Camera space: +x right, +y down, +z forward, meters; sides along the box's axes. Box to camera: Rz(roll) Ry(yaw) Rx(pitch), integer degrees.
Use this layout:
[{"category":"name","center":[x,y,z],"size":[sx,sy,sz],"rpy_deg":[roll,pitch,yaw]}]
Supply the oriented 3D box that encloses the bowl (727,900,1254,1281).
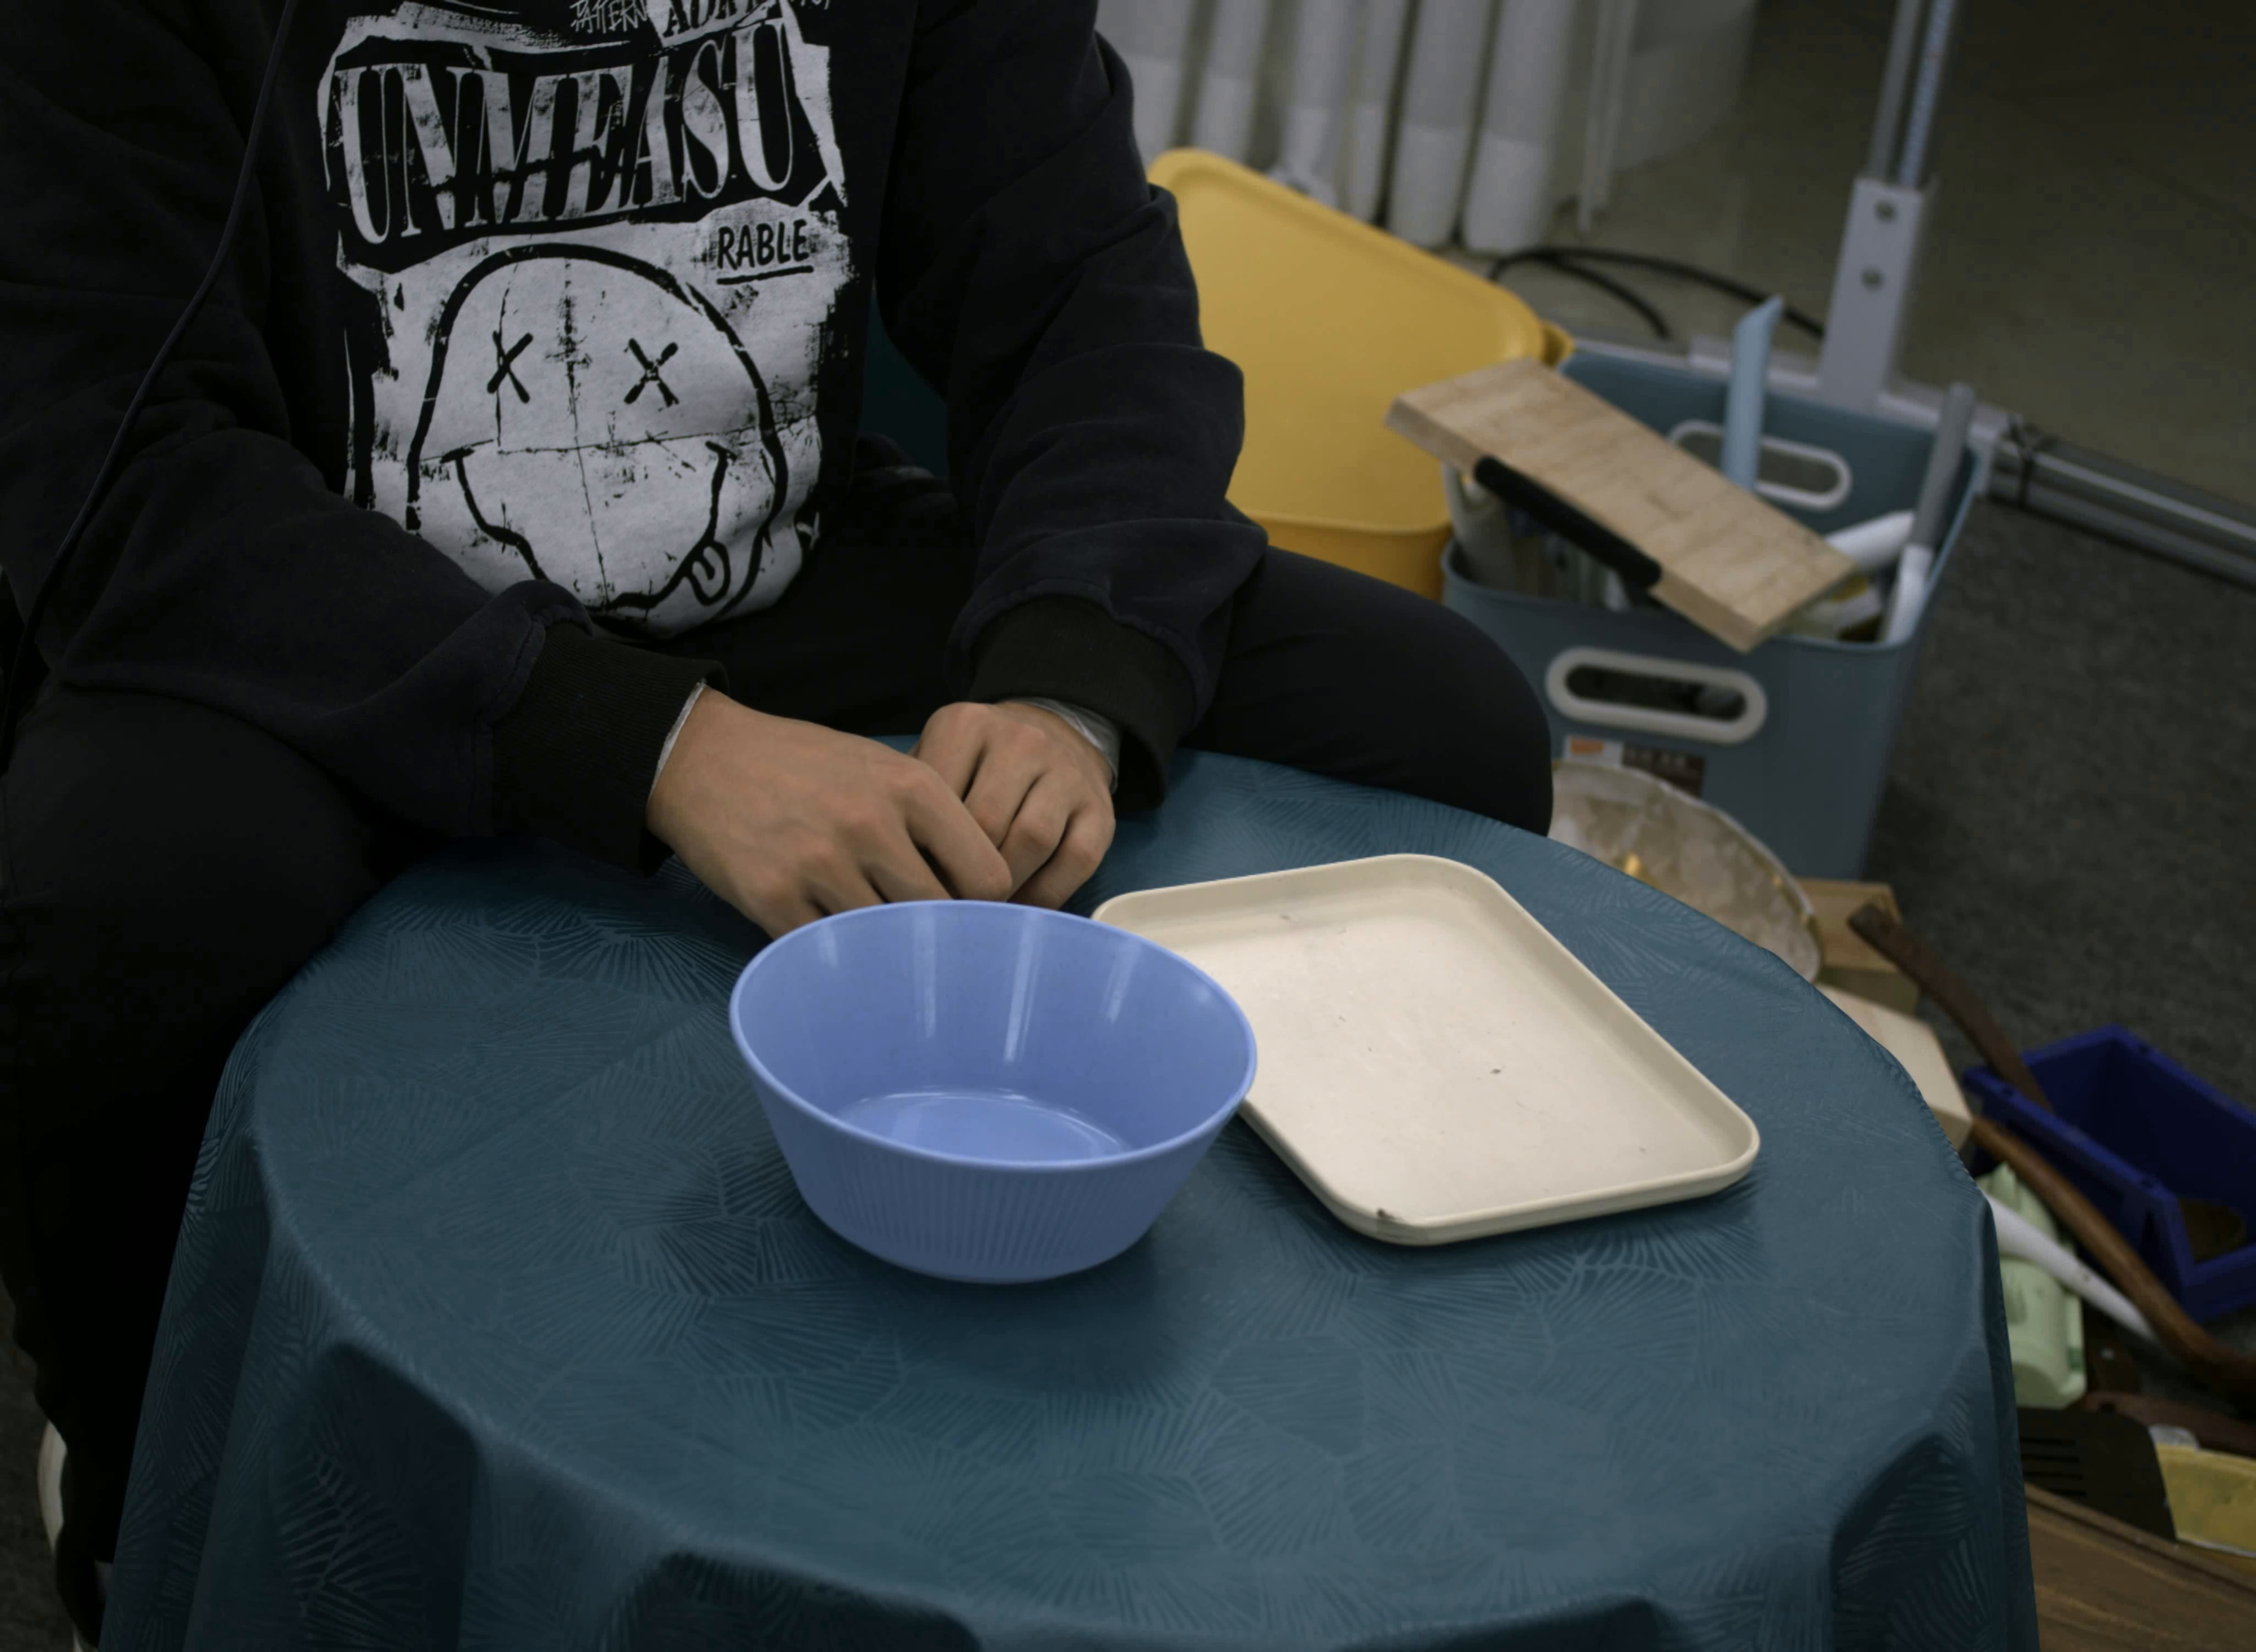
[{"category":"bowl","center":[-0.049,0.094,1.770],"size":[0.175,0.070,0.177],"rpy_deg":[6,27,-3]}]

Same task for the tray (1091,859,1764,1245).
[{"category":"tray","center":[0.103,0.079,1.893],"size":[0.170,0.017,0.242],"rpy_deg":[-7,30,-26]}]
